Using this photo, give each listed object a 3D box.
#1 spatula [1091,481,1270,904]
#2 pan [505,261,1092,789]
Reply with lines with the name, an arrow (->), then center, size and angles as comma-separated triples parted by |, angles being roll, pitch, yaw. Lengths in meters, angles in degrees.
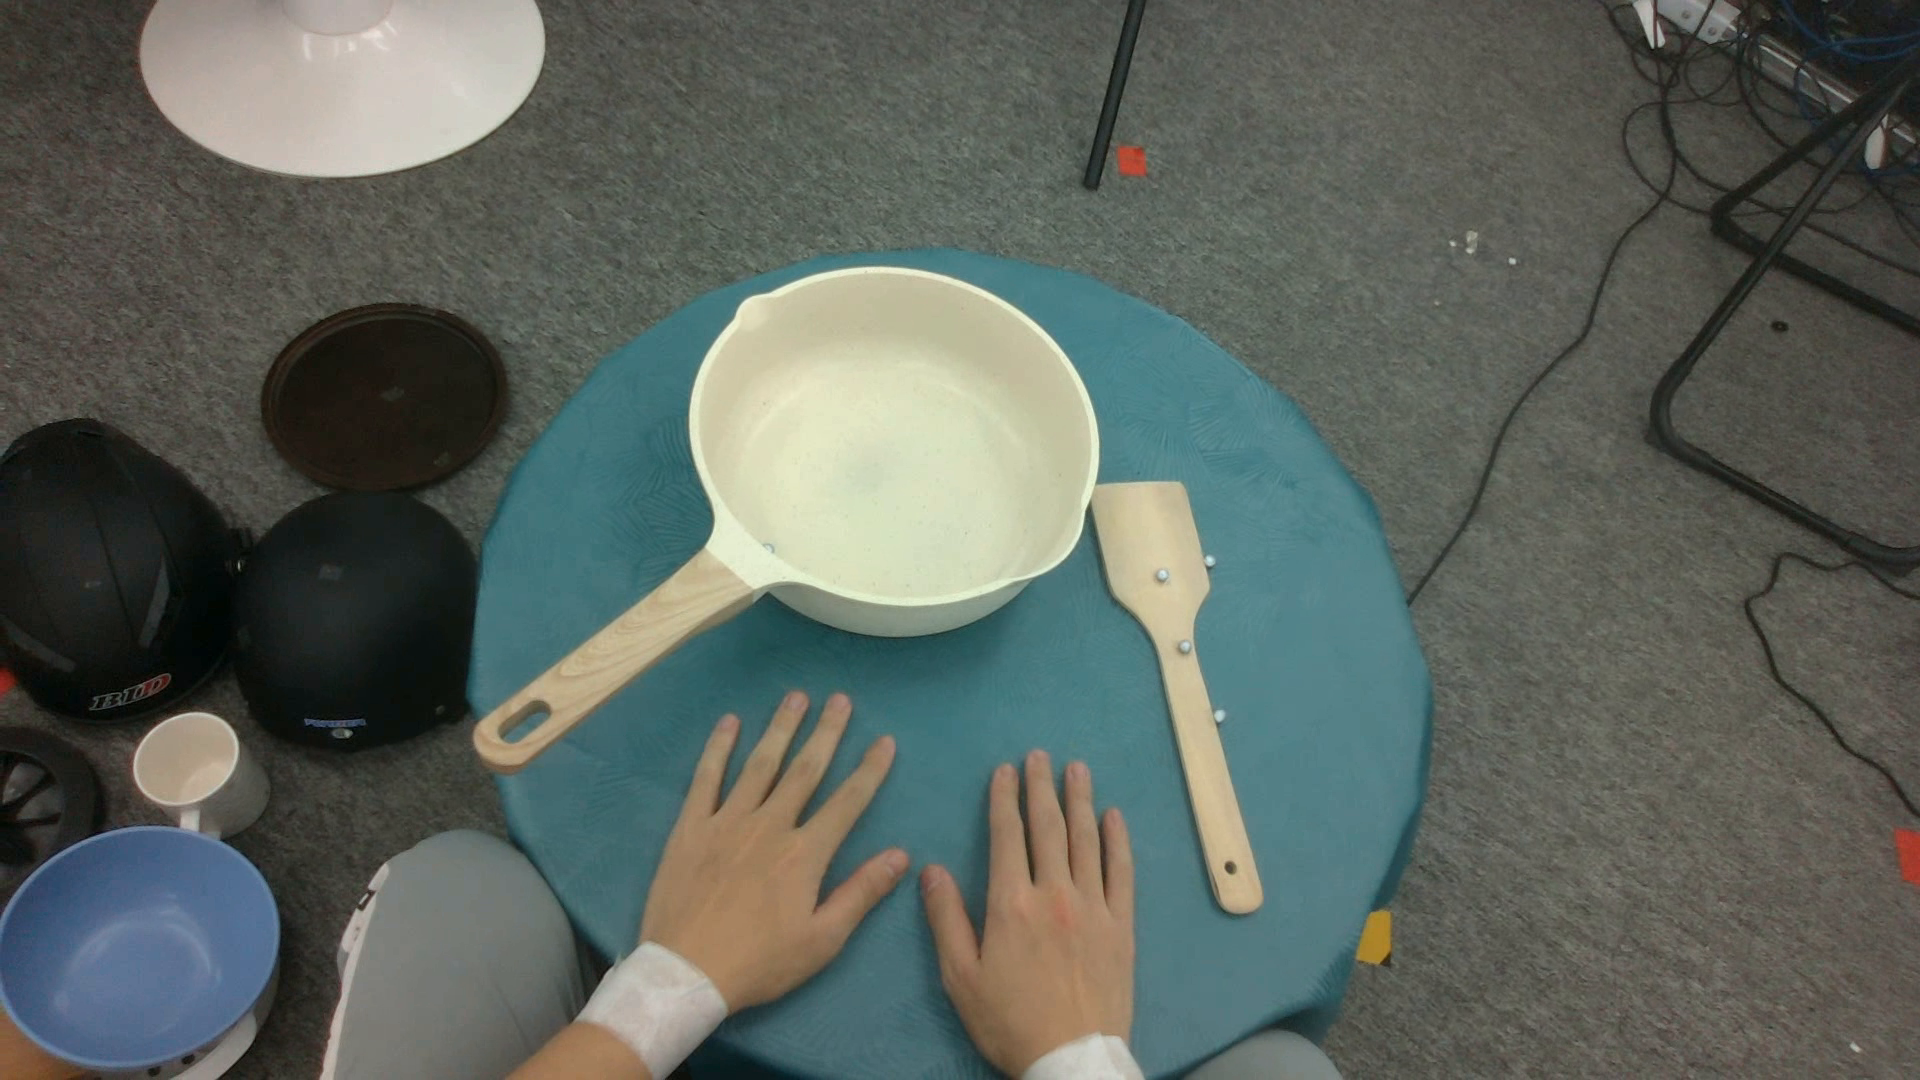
spatula -> 0.147, 0.087, 0.873 | 0.072, 0.010, 0.294 | -4, 59, -12
pan -> -0.101, -0.001, 0.836 | 0.263, 0.101, 0.437 | 37, 61, 12
